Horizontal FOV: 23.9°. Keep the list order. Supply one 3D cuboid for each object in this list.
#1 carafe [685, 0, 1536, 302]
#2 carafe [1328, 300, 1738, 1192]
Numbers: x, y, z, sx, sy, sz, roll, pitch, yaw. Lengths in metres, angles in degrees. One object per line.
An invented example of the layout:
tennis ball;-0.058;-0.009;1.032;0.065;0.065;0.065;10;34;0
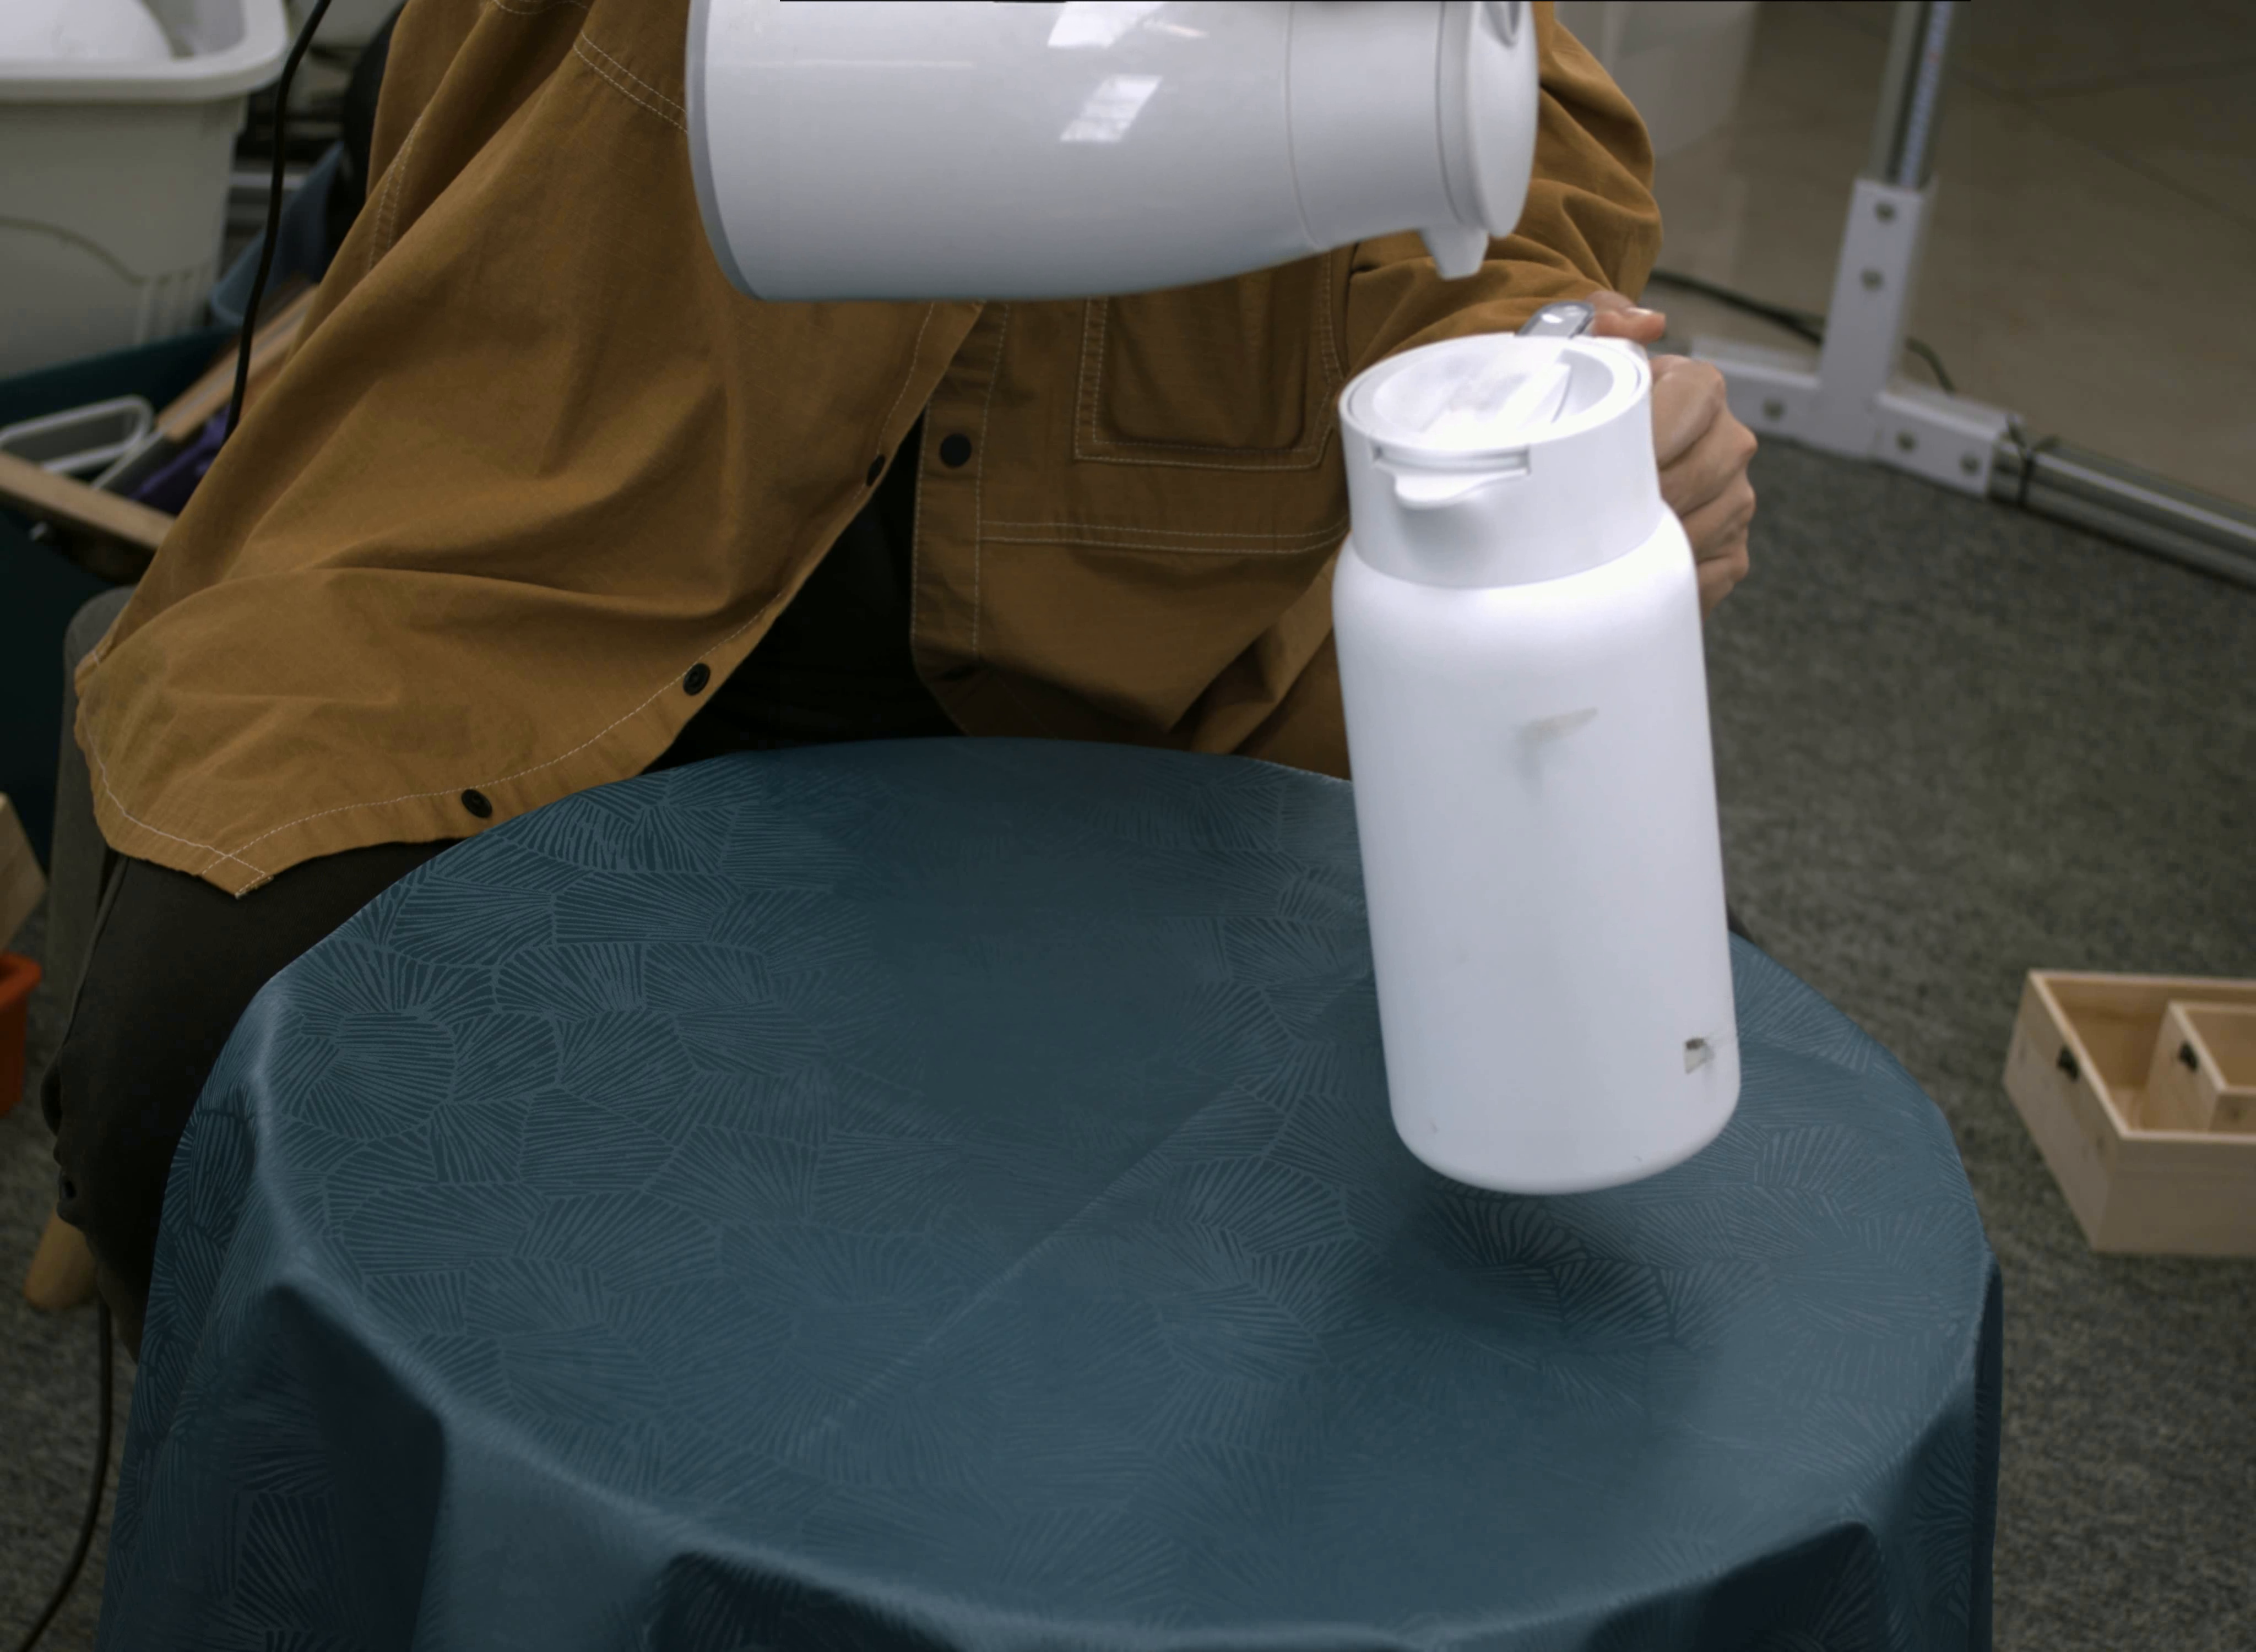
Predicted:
carafe;-0.002;-0.244;1.630;0.249;0.166;0.133;1;38;16
carafe;0.135;-0.029;1.737;0.124;0.268;0.173;2;26;25
